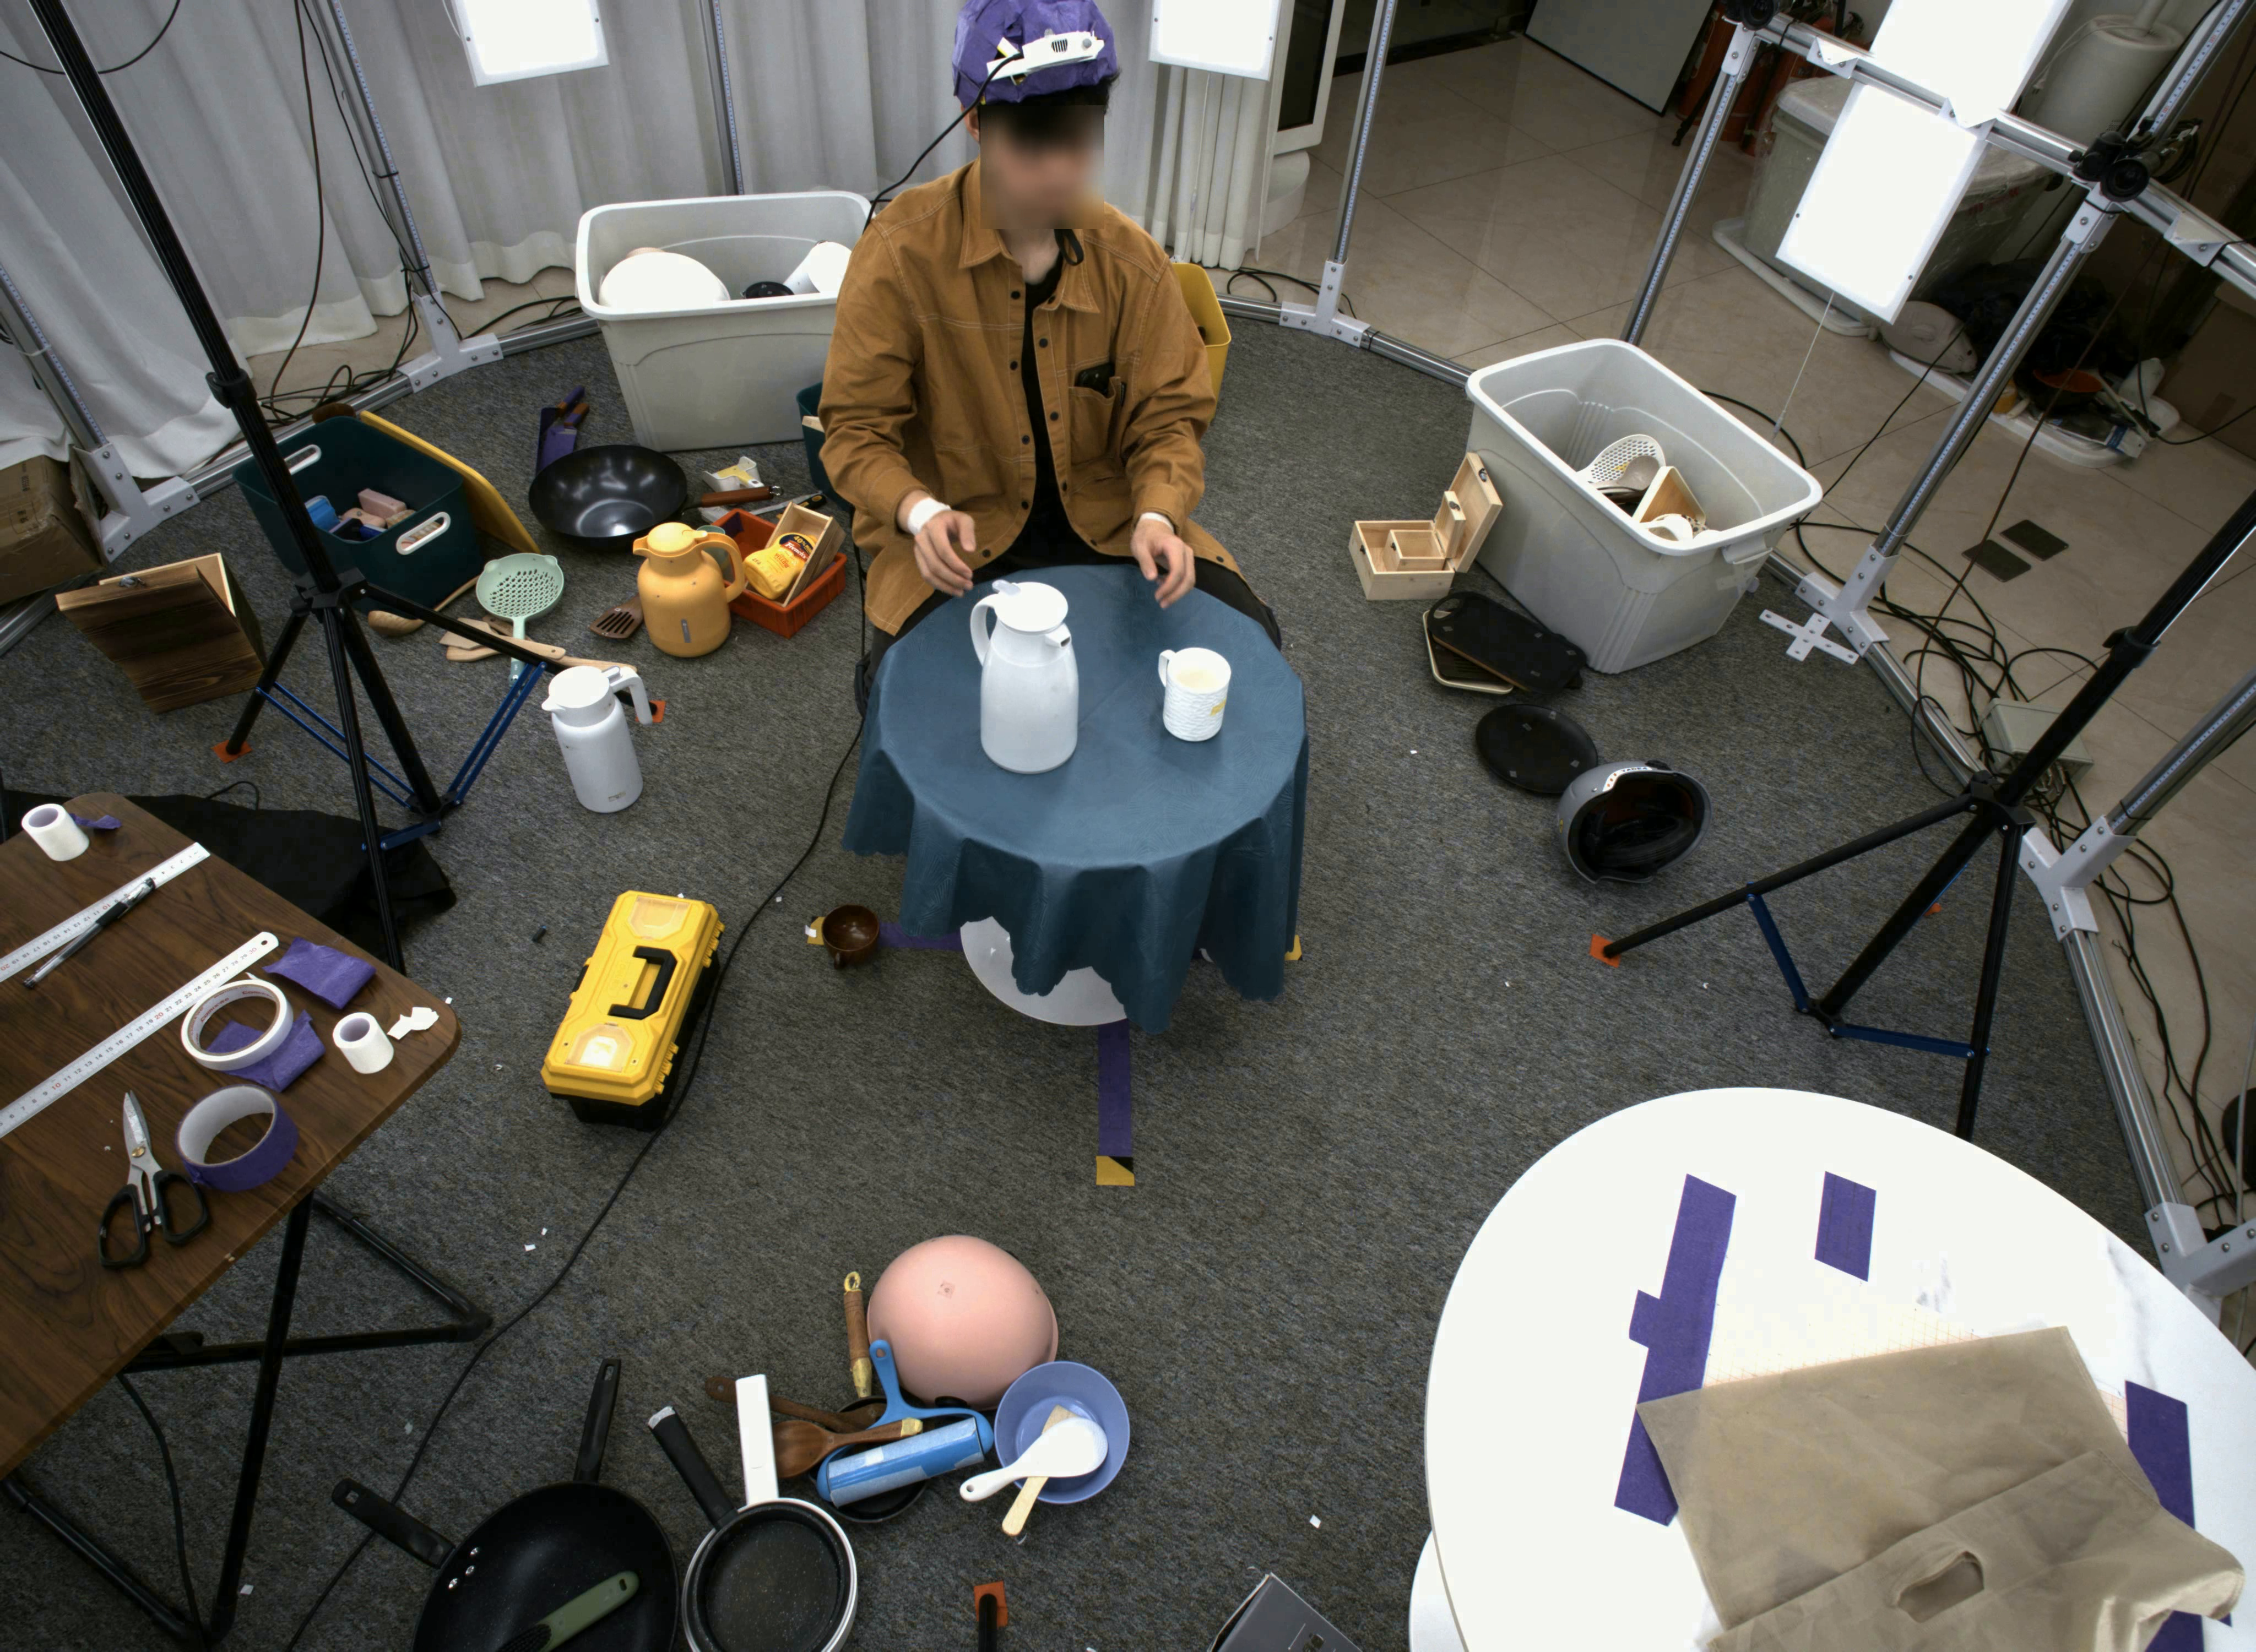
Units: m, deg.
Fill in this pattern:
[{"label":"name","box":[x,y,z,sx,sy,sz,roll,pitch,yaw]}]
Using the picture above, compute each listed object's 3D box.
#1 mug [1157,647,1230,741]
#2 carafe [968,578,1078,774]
[{"label":"mug","box":[0.082,-0.190,1.772,0.085,0.099,0.120,-30,57,-27]},{"label":"carafe","box":[-0.145,-0.208,1.681,0.170,0.242,0.134,36,57,24]}]
